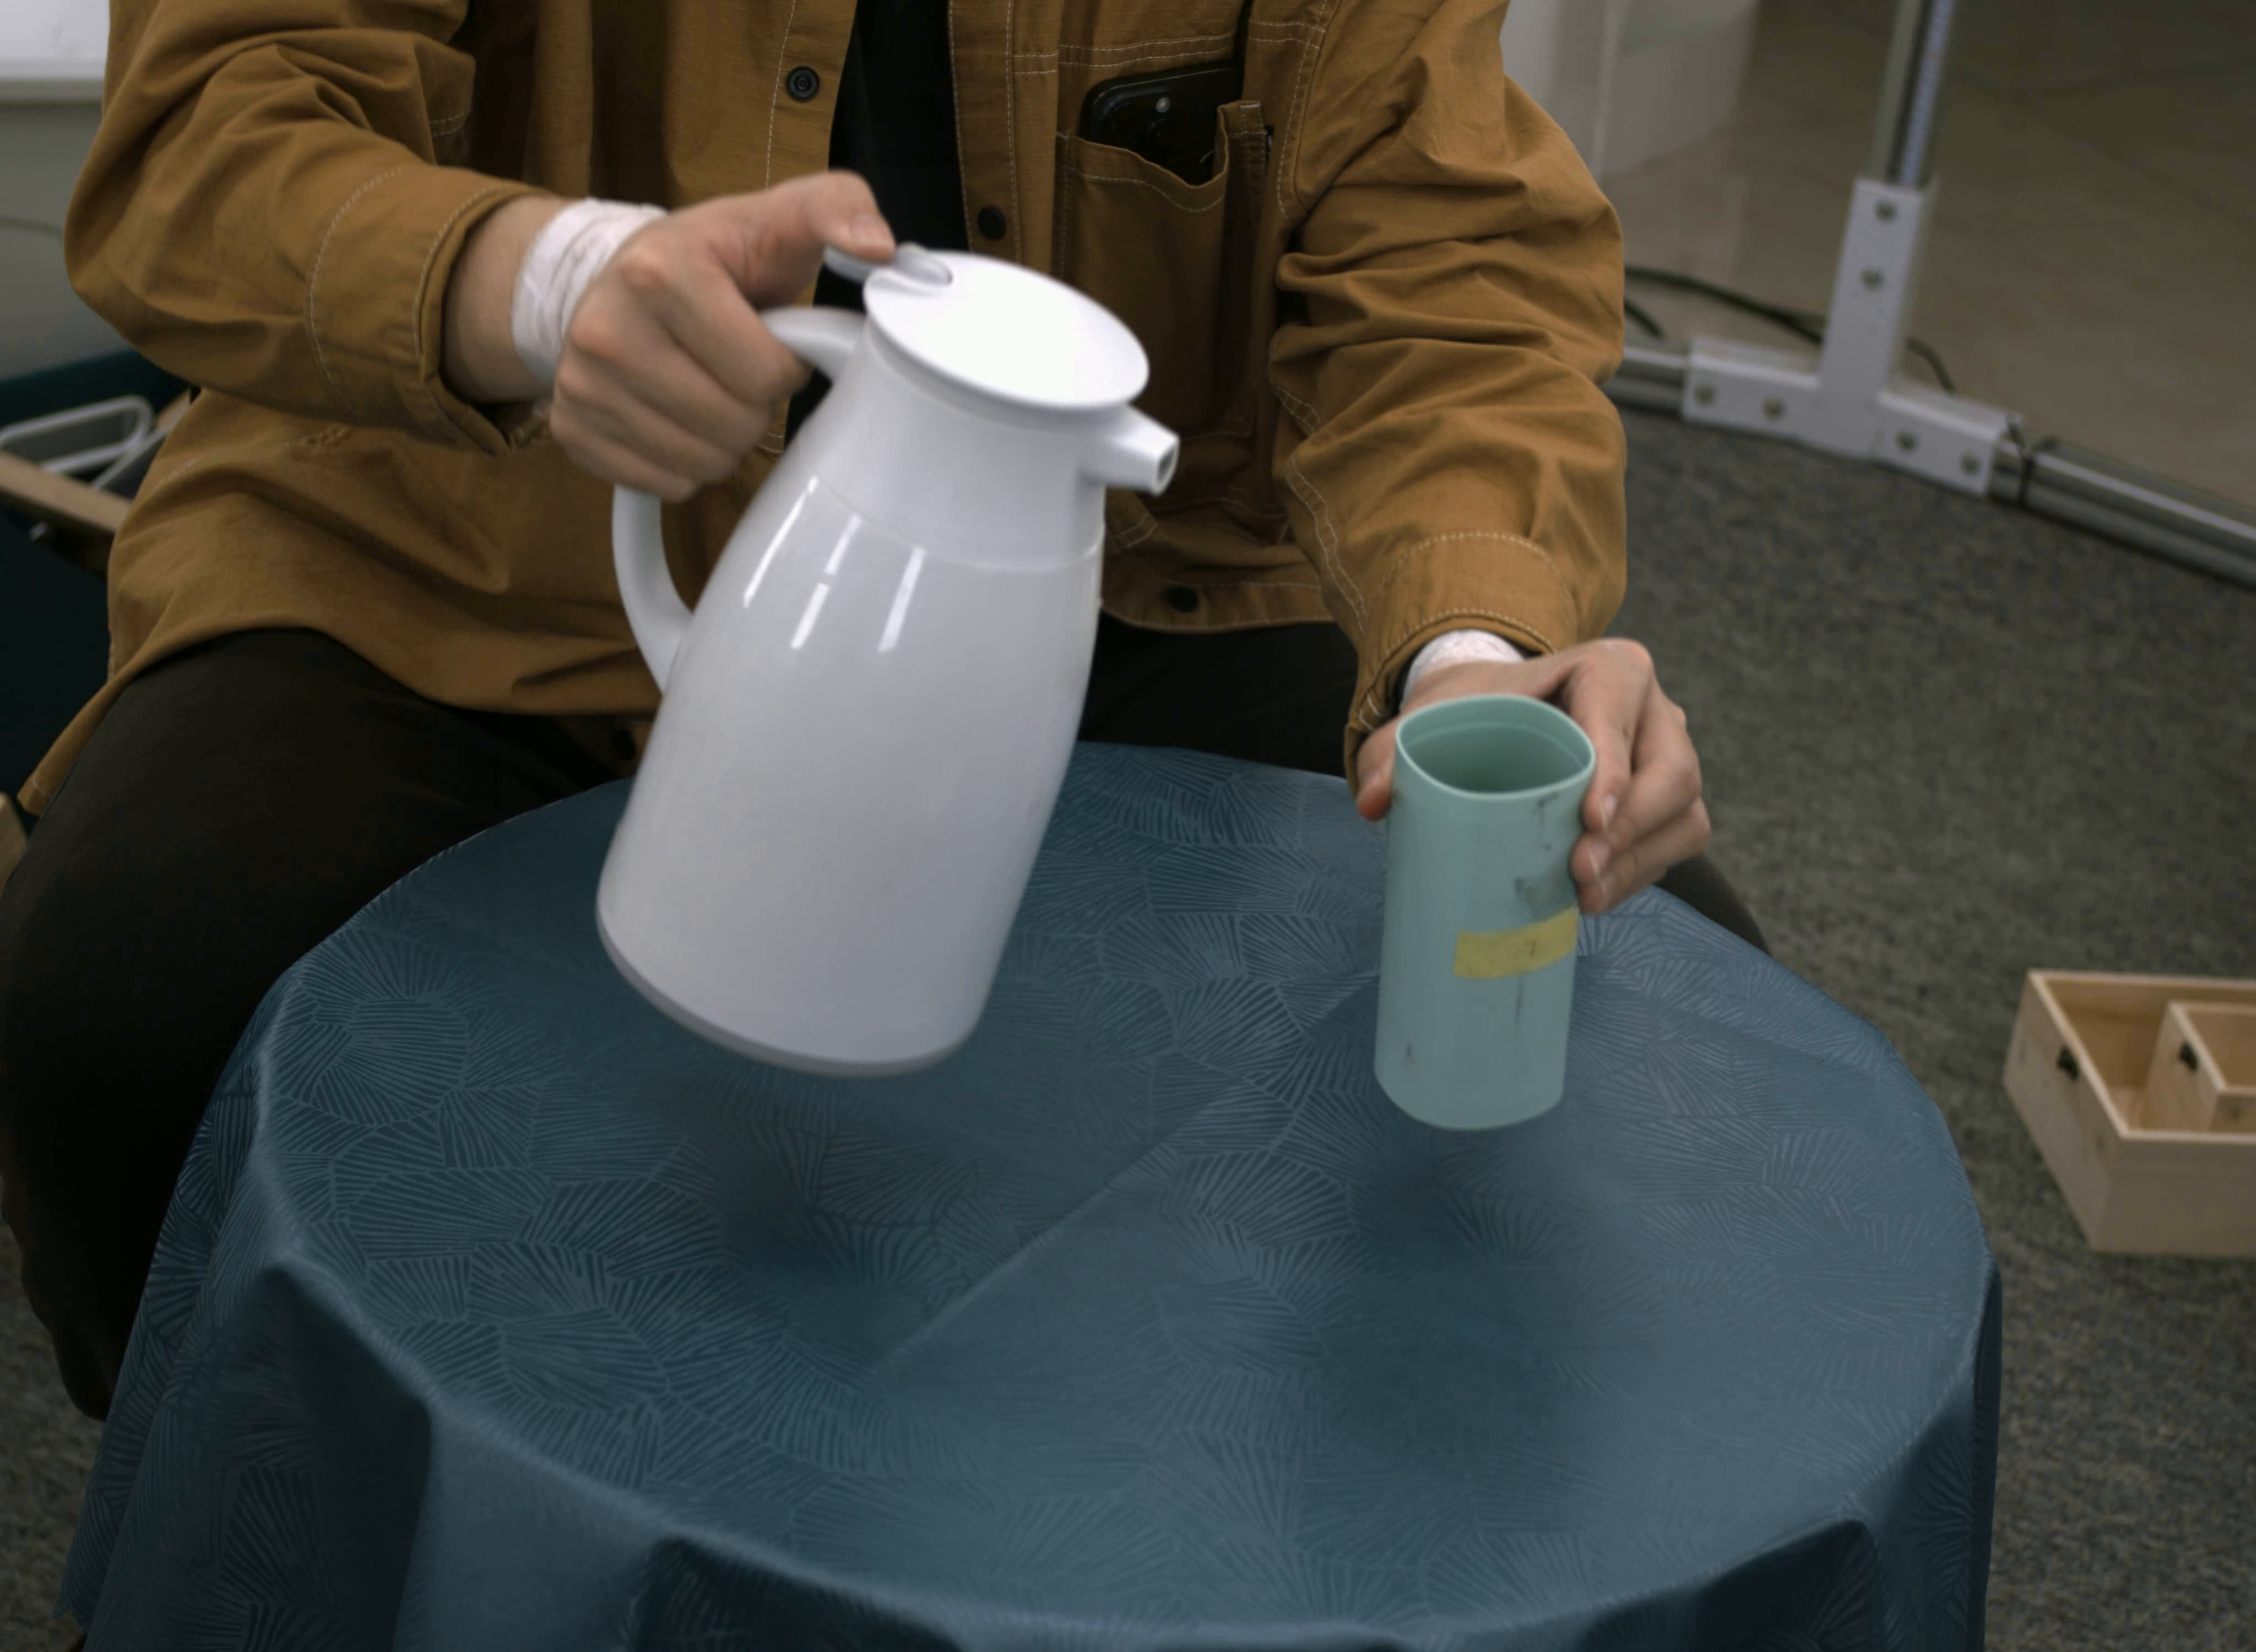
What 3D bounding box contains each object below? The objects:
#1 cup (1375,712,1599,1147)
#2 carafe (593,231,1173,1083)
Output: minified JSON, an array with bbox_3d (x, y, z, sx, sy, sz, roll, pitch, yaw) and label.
[{"bbox_3d":[0.116,0.033,1.752,0.066,0.132,0.067,2,31,-2],"label":"cup"},{"bbox_3d":[-0.092,-0.064,1.686,0.168,0.248,0.132,25,29,10],"label":"carafe"}]
